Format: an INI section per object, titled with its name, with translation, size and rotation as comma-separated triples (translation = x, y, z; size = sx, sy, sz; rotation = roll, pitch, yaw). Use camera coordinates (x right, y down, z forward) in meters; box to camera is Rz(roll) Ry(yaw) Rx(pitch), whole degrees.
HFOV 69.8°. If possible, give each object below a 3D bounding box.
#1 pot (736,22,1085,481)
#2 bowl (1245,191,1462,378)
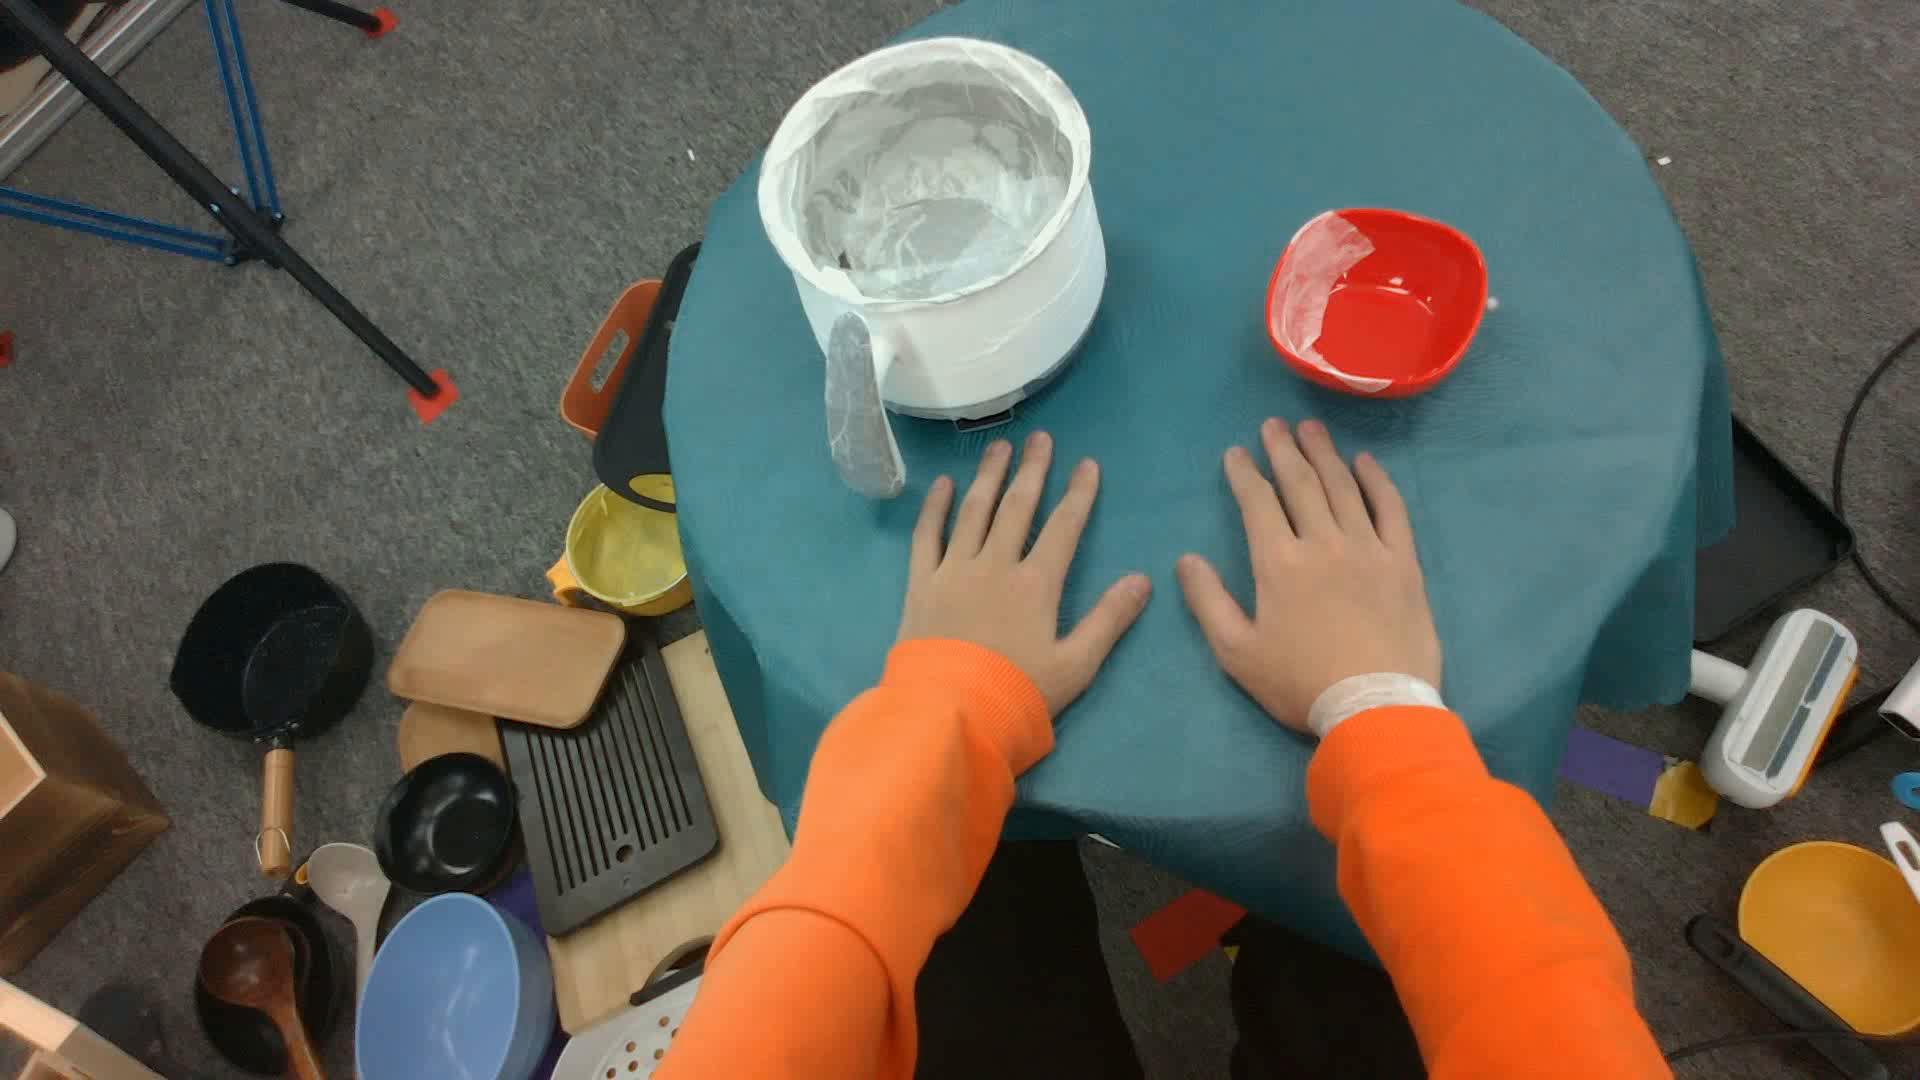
[pot]
translation = -0.029, -0.153, 0.764
size = 0.178, 0.136, 0.234
rotation = 12, 67, 16
[bowl]
translation = 0.213, -0.132, 0.757
size = 0.119, 0.051, 0.119
rotation = -3, 63, 7
